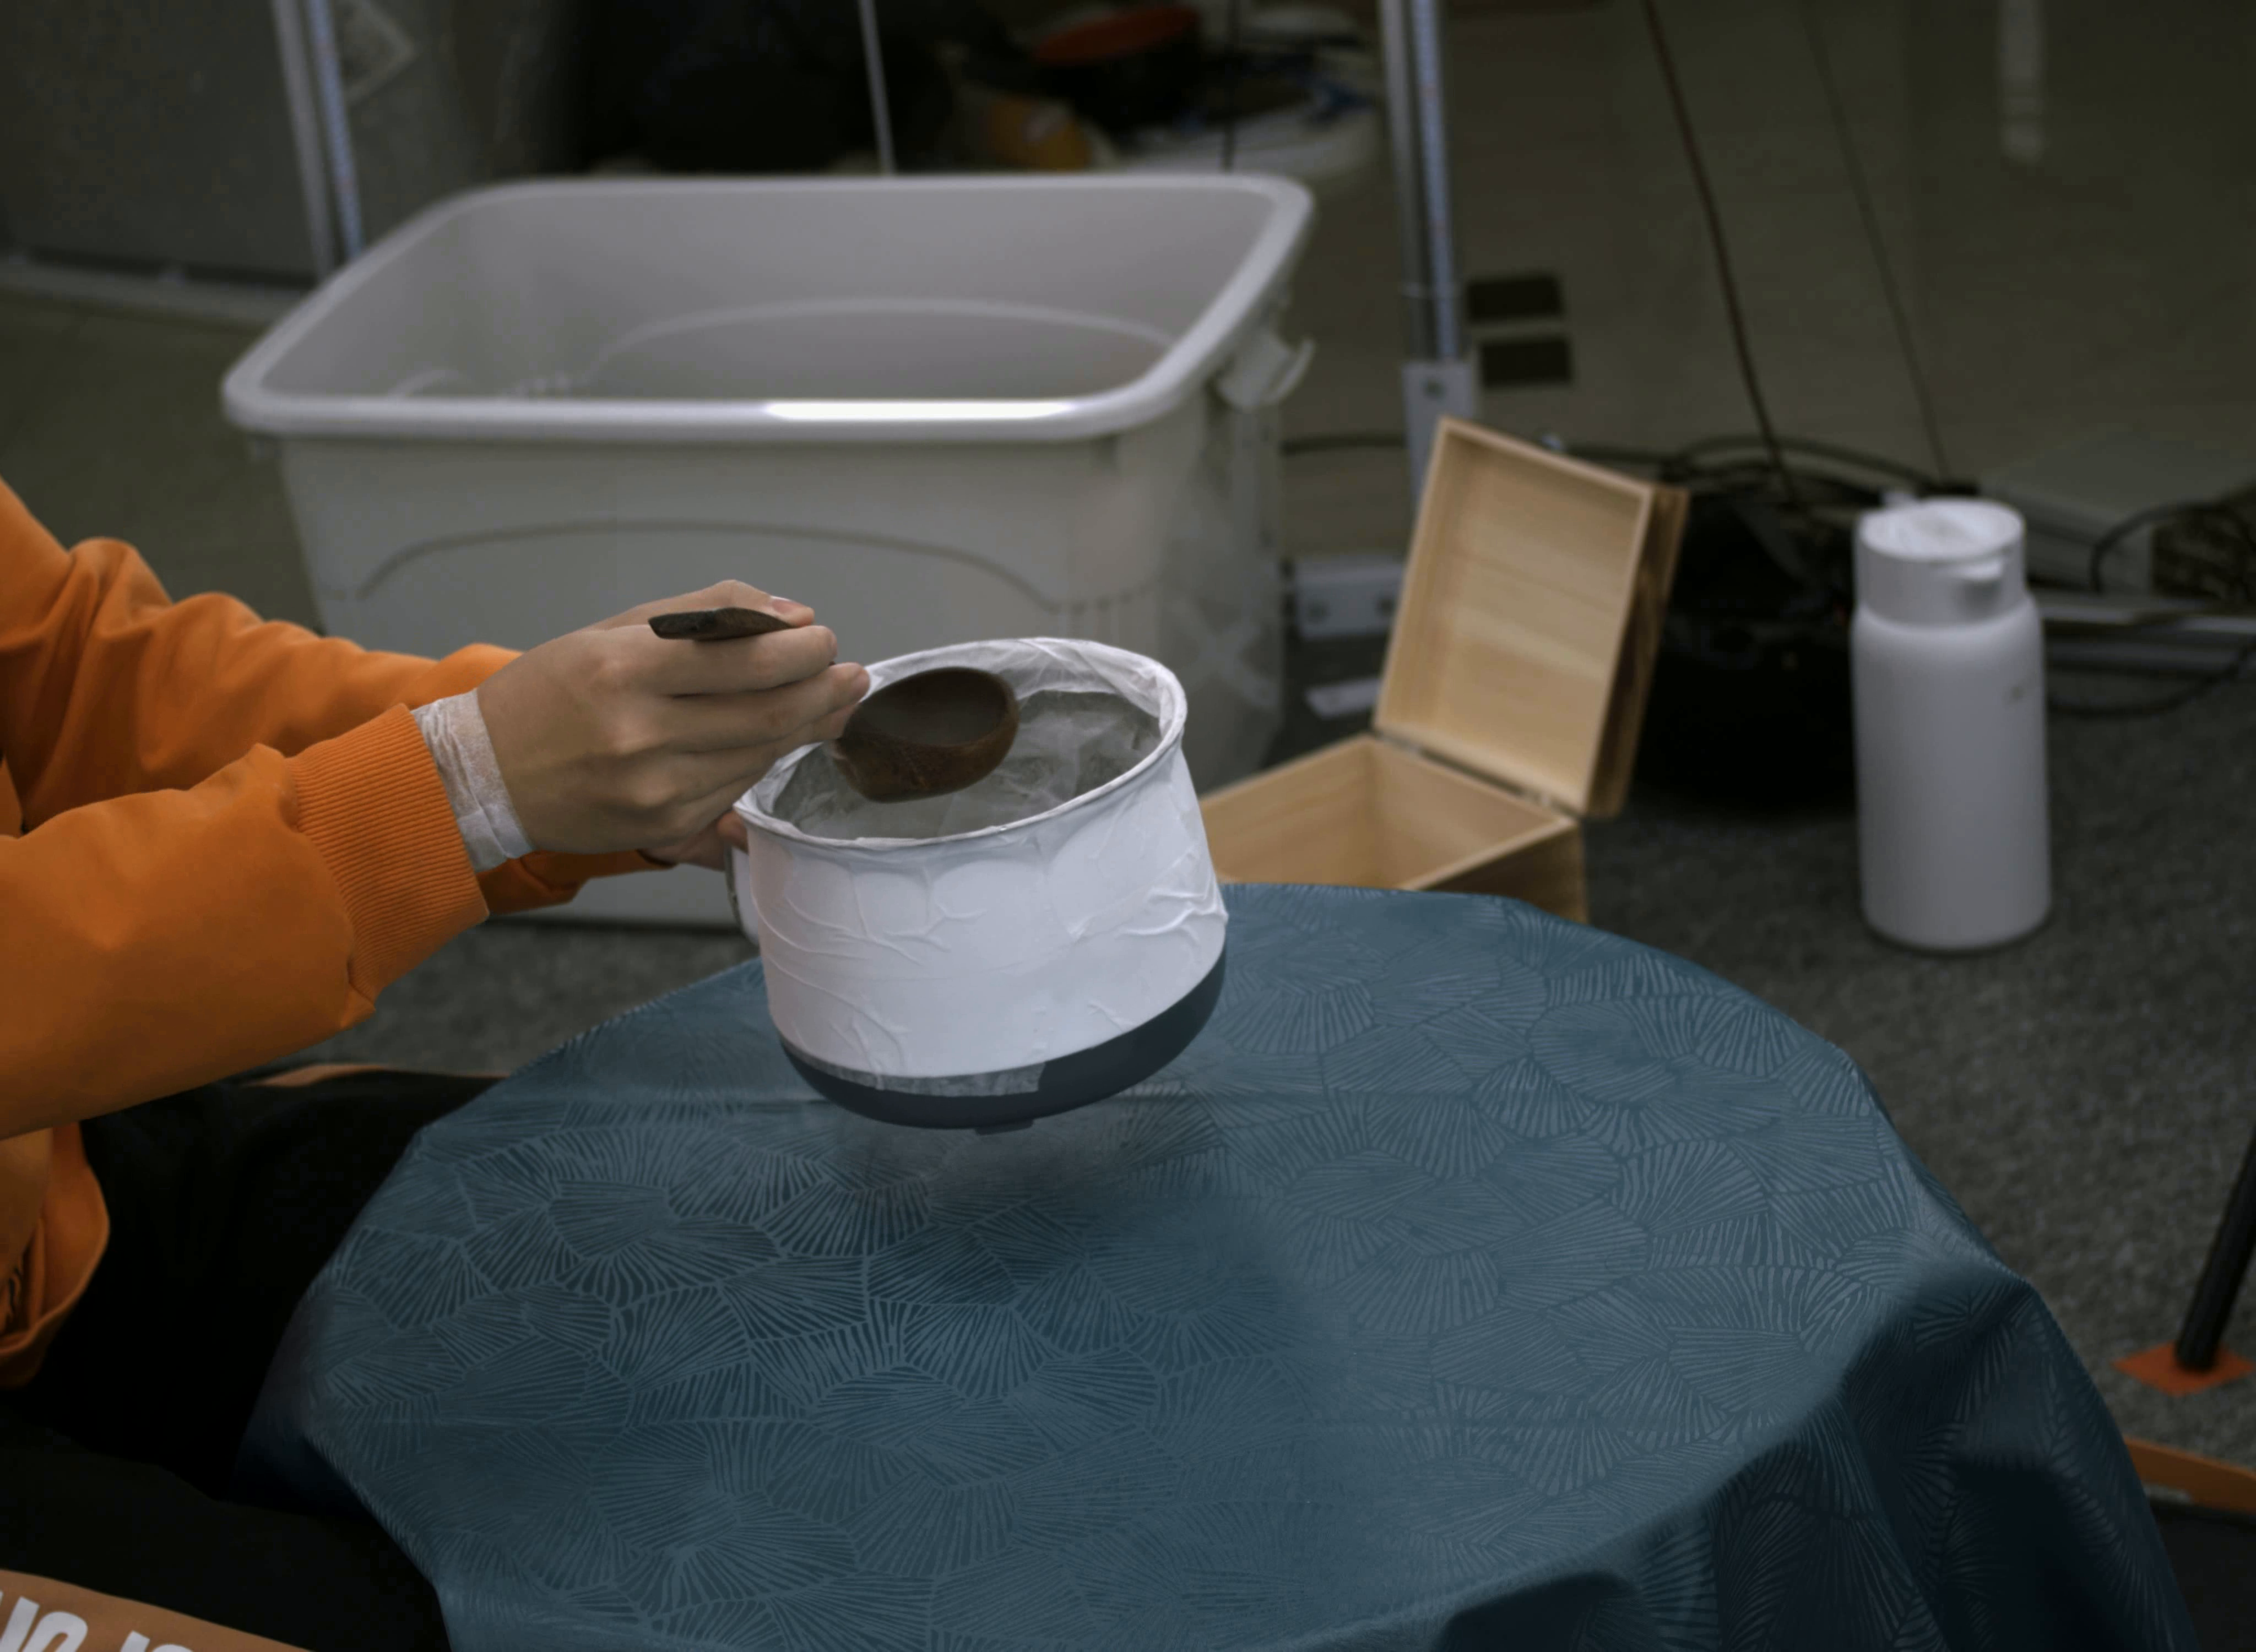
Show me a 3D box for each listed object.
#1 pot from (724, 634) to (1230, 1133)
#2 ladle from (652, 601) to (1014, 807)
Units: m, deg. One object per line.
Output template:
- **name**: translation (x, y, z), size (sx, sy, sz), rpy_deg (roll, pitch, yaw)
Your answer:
- **pot**: translation (-0.073, 0.017, 2.160), size (0.232, 0.139, 0.177), rpy_deg (16, 36, 42)
- **ladle**: translation (-0.111, -0.065, 2.037), size (0.076, 0.070, 0.276), rpy_deg (-10, -19, 15)
